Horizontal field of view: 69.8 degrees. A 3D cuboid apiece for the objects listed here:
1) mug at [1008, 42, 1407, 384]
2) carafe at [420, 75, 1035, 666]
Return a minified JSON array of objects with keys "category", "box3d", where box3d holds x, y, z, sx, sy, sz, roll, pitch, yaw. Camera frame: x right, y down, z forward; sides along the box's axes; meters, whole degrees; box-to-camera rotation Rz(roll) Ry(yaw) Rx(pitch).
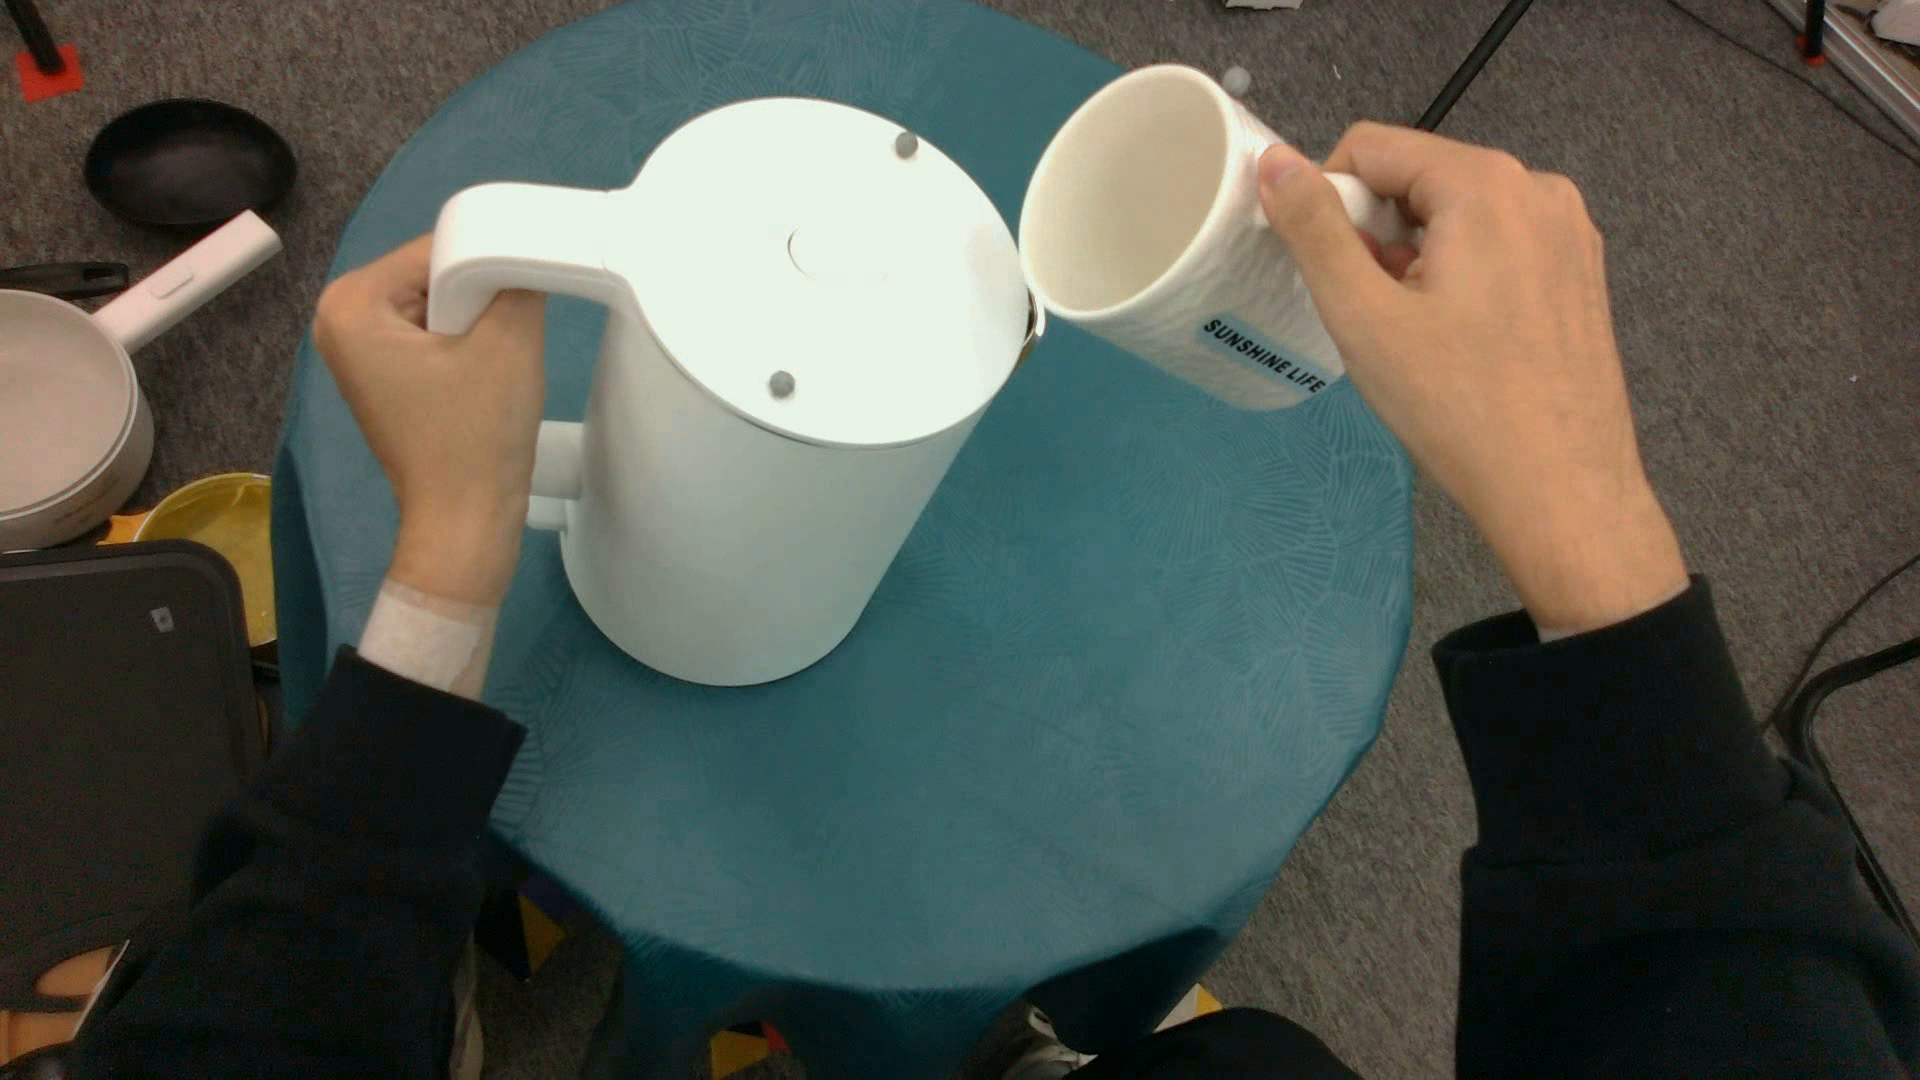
[{"category":"mug","box3d":[0.092,-0.106,0.460,0.102,0.118,0.085,18,81,-42]},{"category":"carafe","box3d":[-0.107,-0.061,0.565,0.213,0.239,0.152,5,63,-20]}]
